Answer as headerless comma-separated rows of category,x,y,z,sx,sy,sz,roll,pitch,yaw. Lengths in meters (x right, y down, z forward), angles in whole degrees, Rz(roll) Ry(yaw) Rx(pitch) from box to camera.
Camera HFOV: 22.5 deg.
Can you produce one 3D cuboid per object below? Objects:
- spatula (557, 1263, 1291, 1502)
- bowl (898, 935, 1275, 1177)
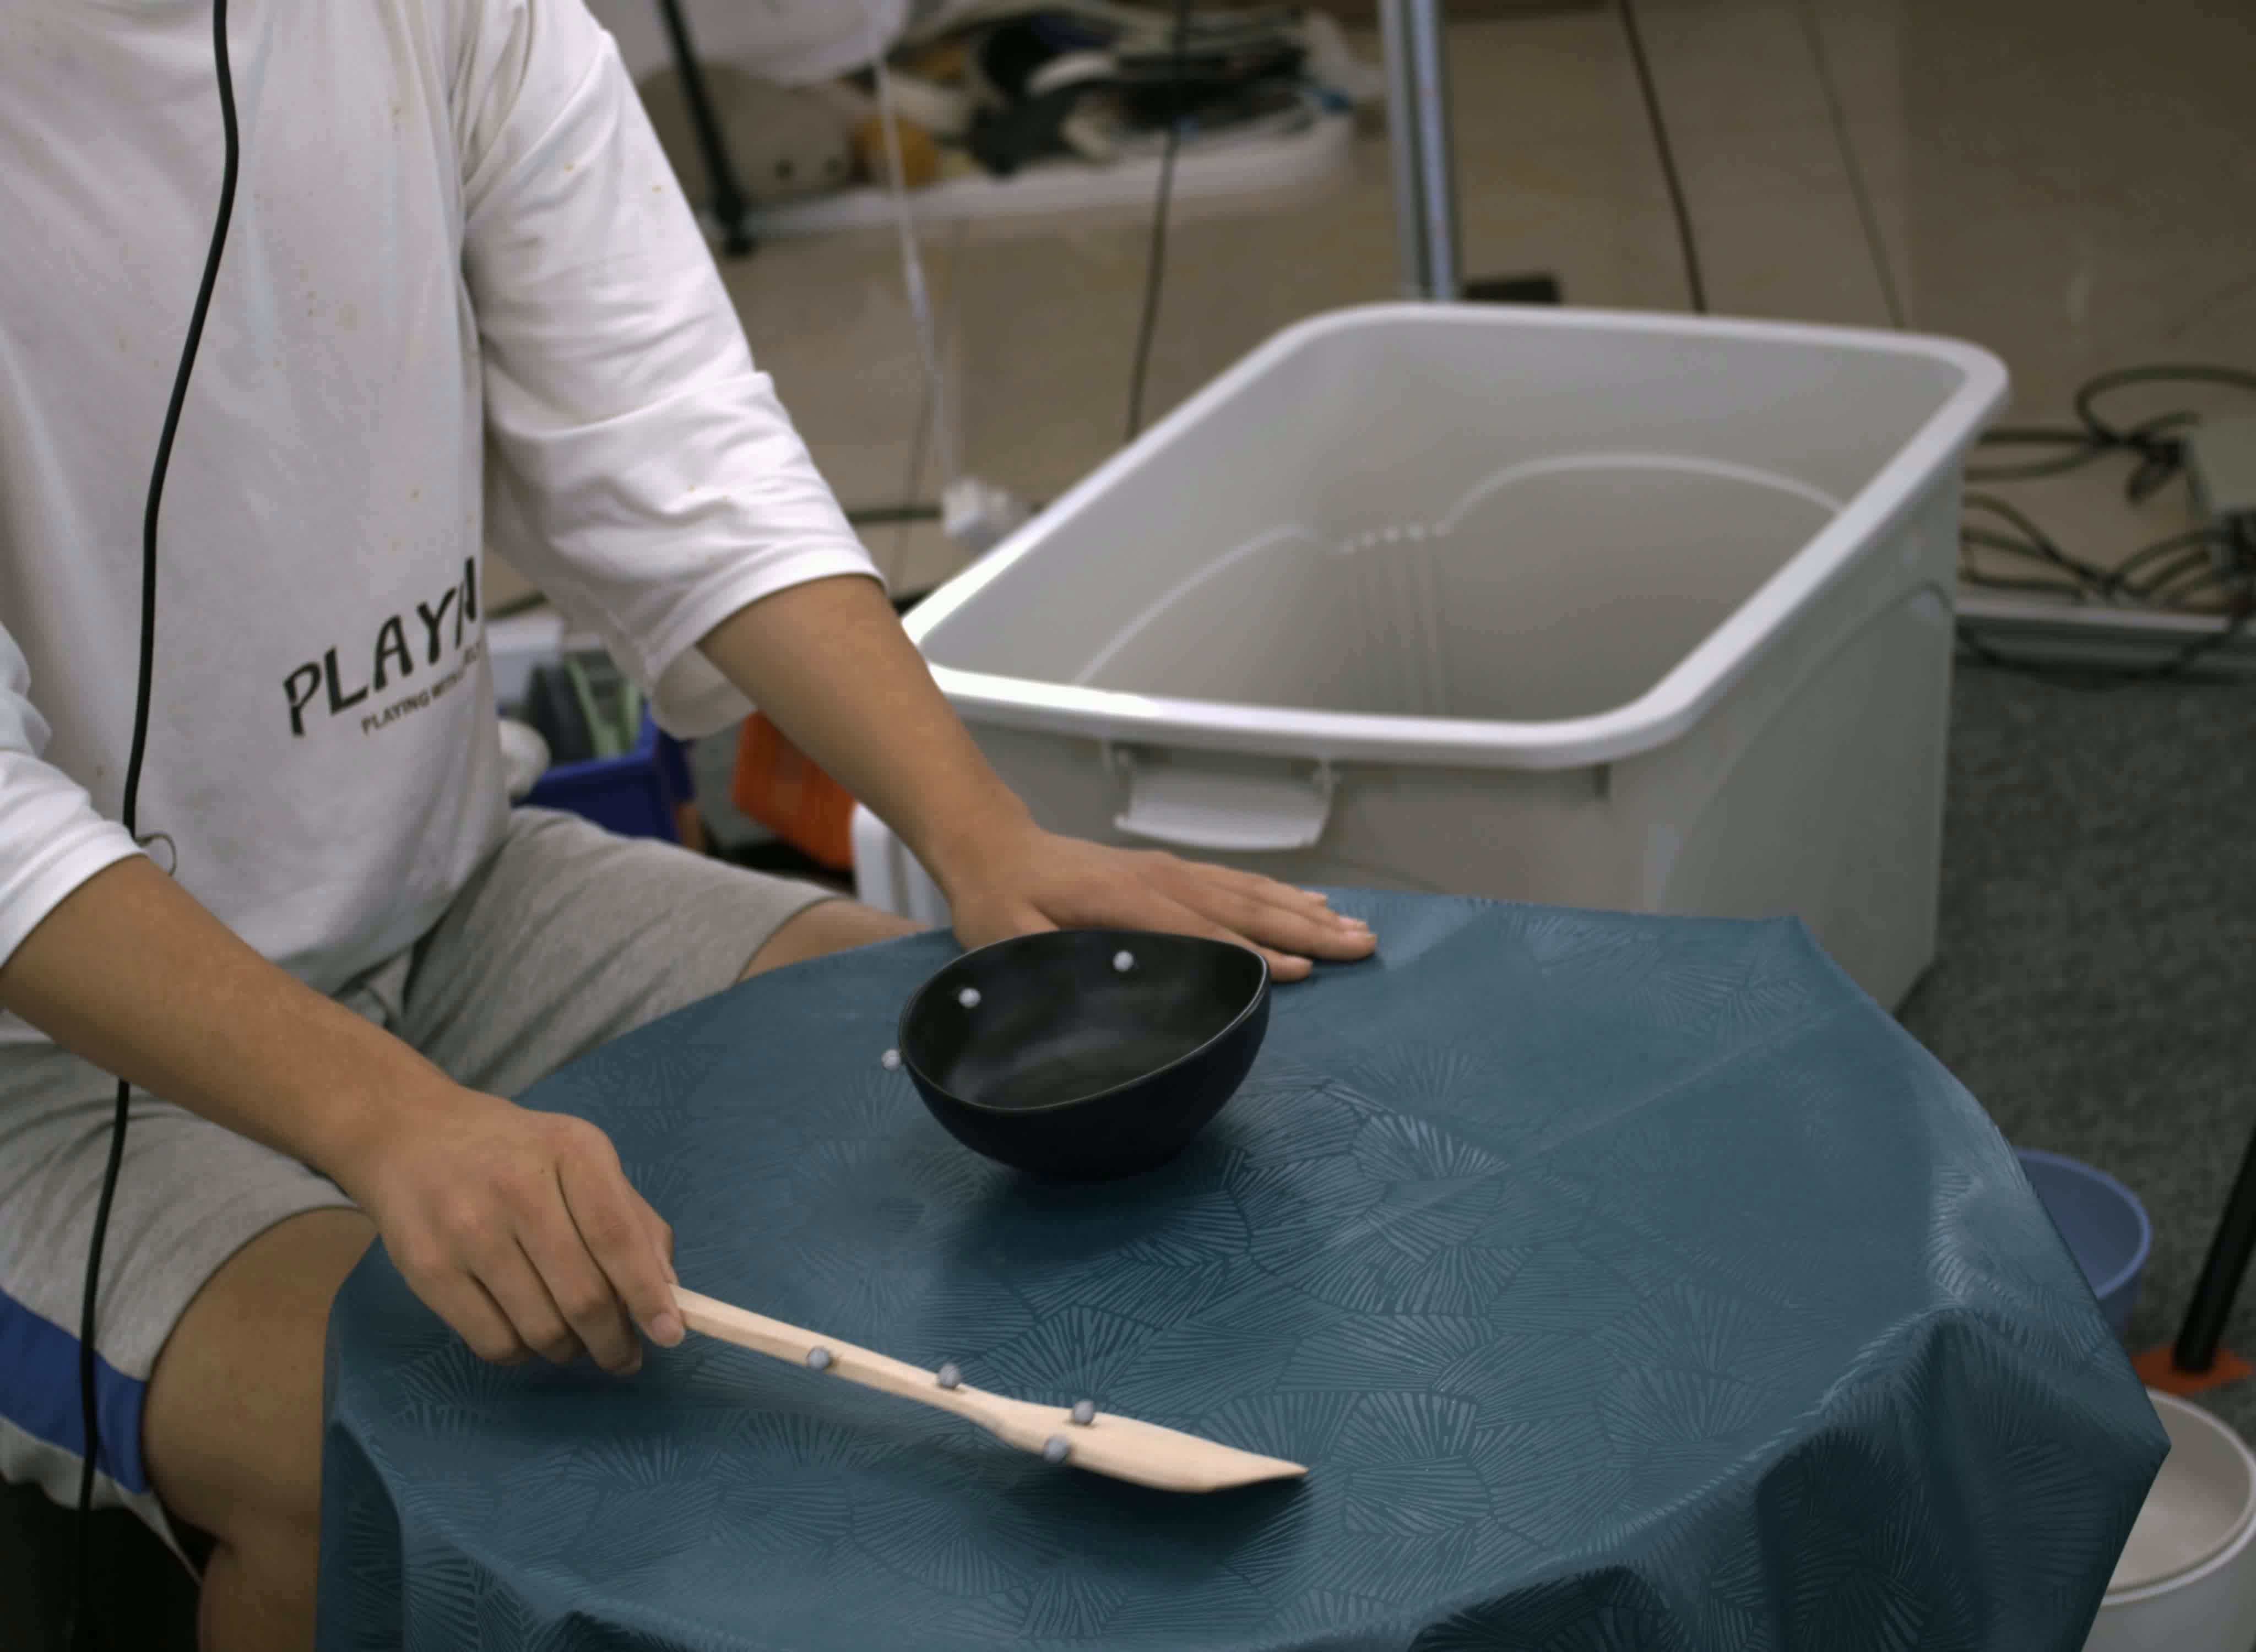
spatula,-0.082,0.194,1.989,0.291,0.011,0.072,15,10,30
bowl,-0.013,0.092,2.174,0.137,0.068,0.168,6,26,26
